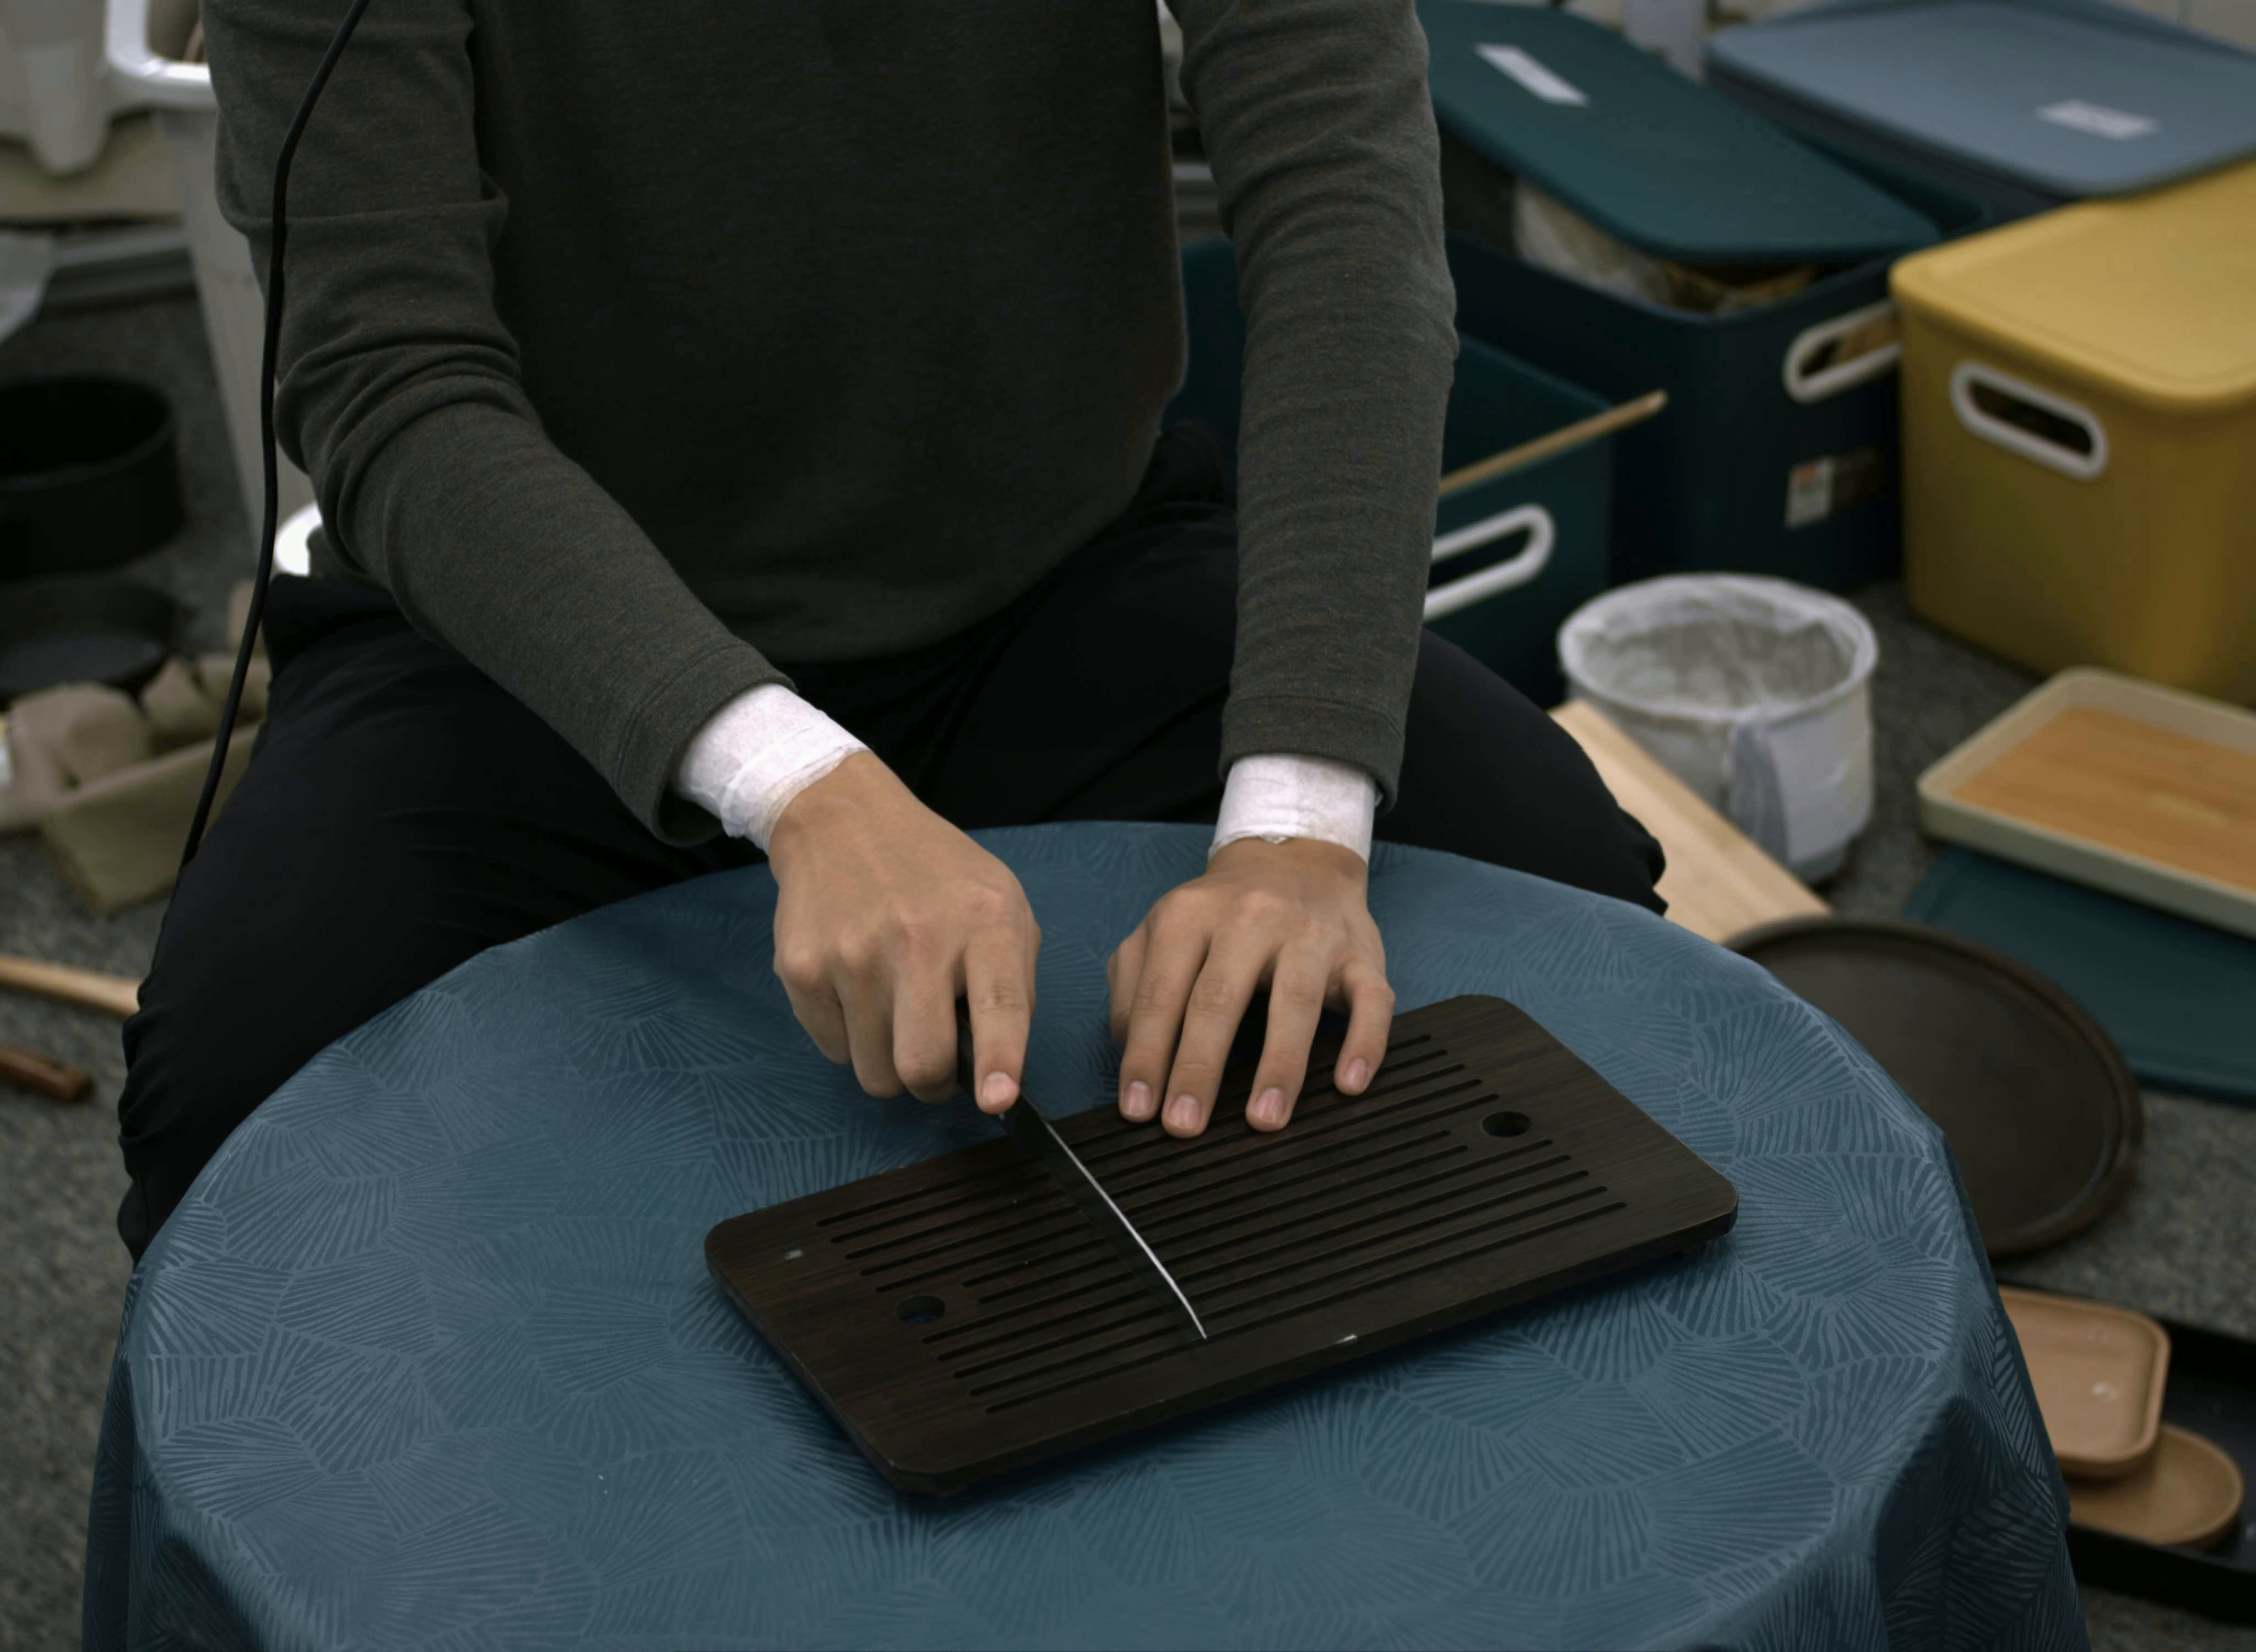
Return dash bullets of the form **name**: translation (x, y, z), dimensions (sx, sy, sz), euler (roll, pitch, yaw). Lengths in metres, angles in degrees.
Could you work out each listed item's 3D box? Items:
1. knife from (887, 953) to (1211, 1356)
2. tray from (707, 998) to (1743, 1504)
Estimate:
- **knife**: translation (-0.026, 0.104, 1.827), dimensions (0.016, 0.024, 0.240), euler (-16, 35, -20)
- **tray**: translation (0.031, 0.135, 1.814), dimensions (0.307, 0.018, 0.171), euler (-16, 29, -24)
